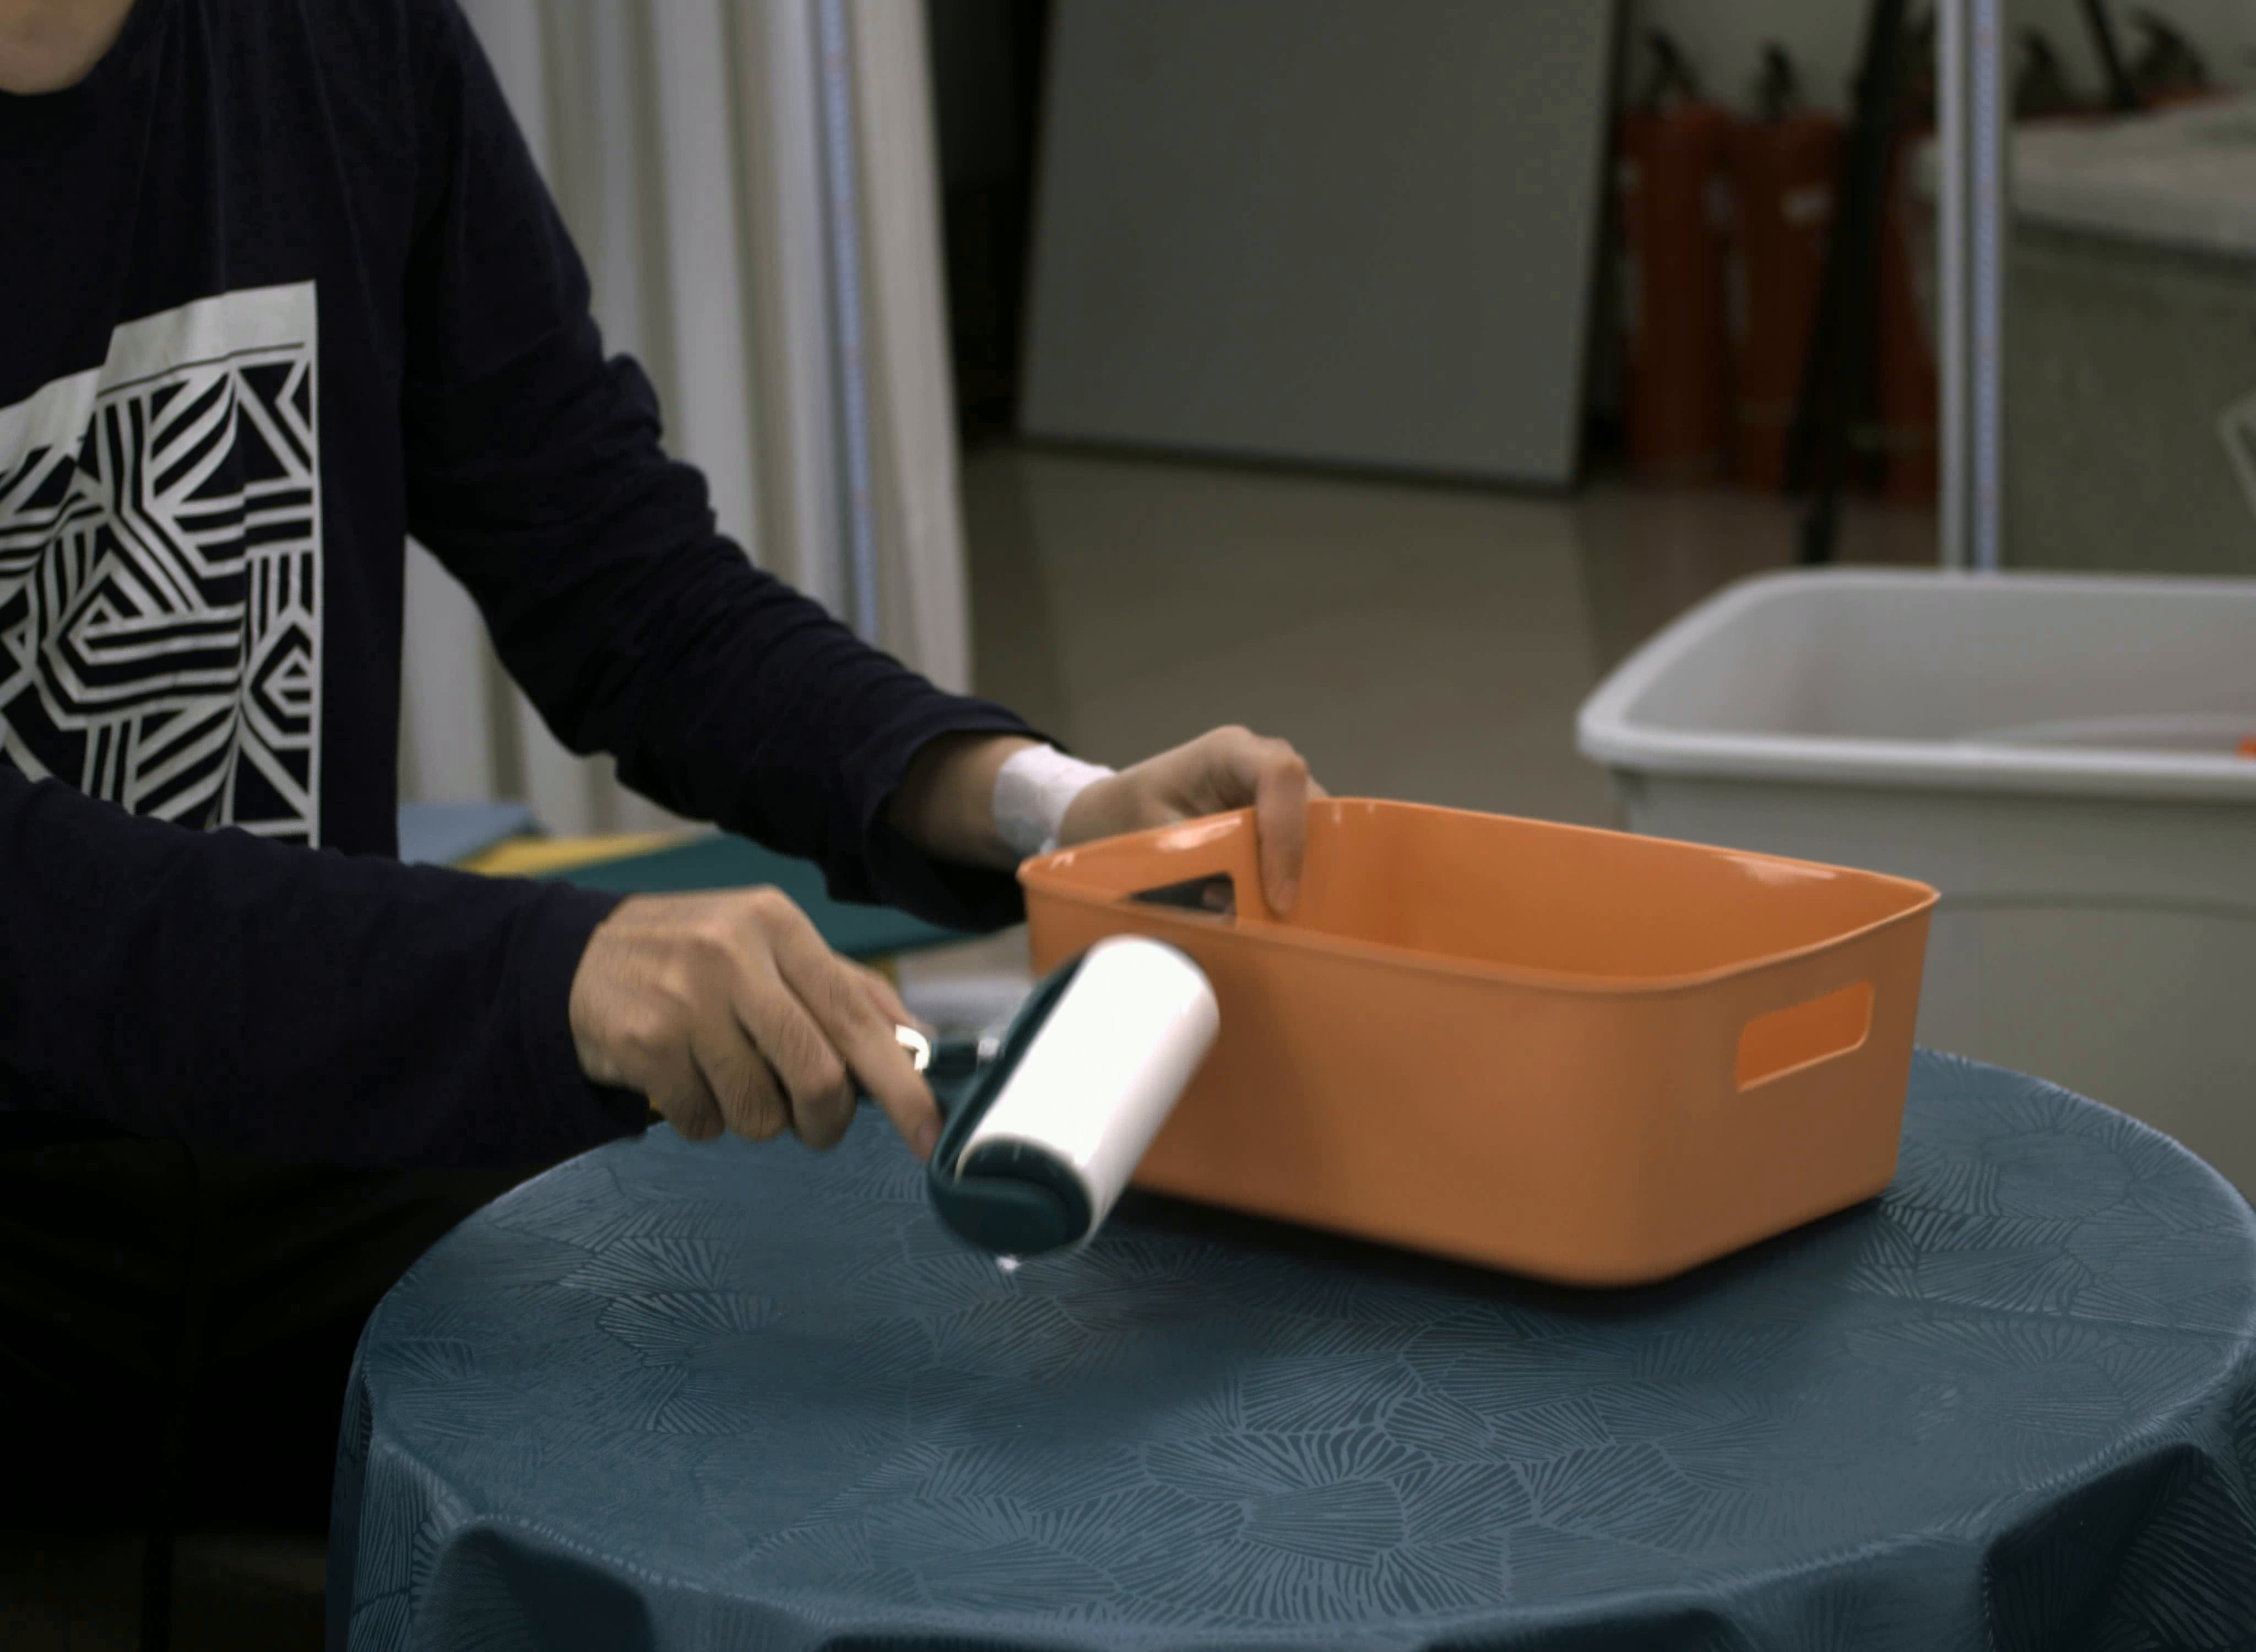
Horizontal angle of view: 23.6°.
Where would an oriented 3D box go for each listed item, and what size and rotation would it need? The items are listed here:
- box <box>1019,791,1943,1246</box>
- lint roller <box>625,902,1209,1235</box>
[{"bbox_3d":[0.109,0.059,1.730,0.275,0.104,0.195,8,10,40],"label":"box"},{"bbox_3d":[-0.074,0.063,1.649,0.180,0.048,0.134,8,38,20],"label":"lint roller"}]
